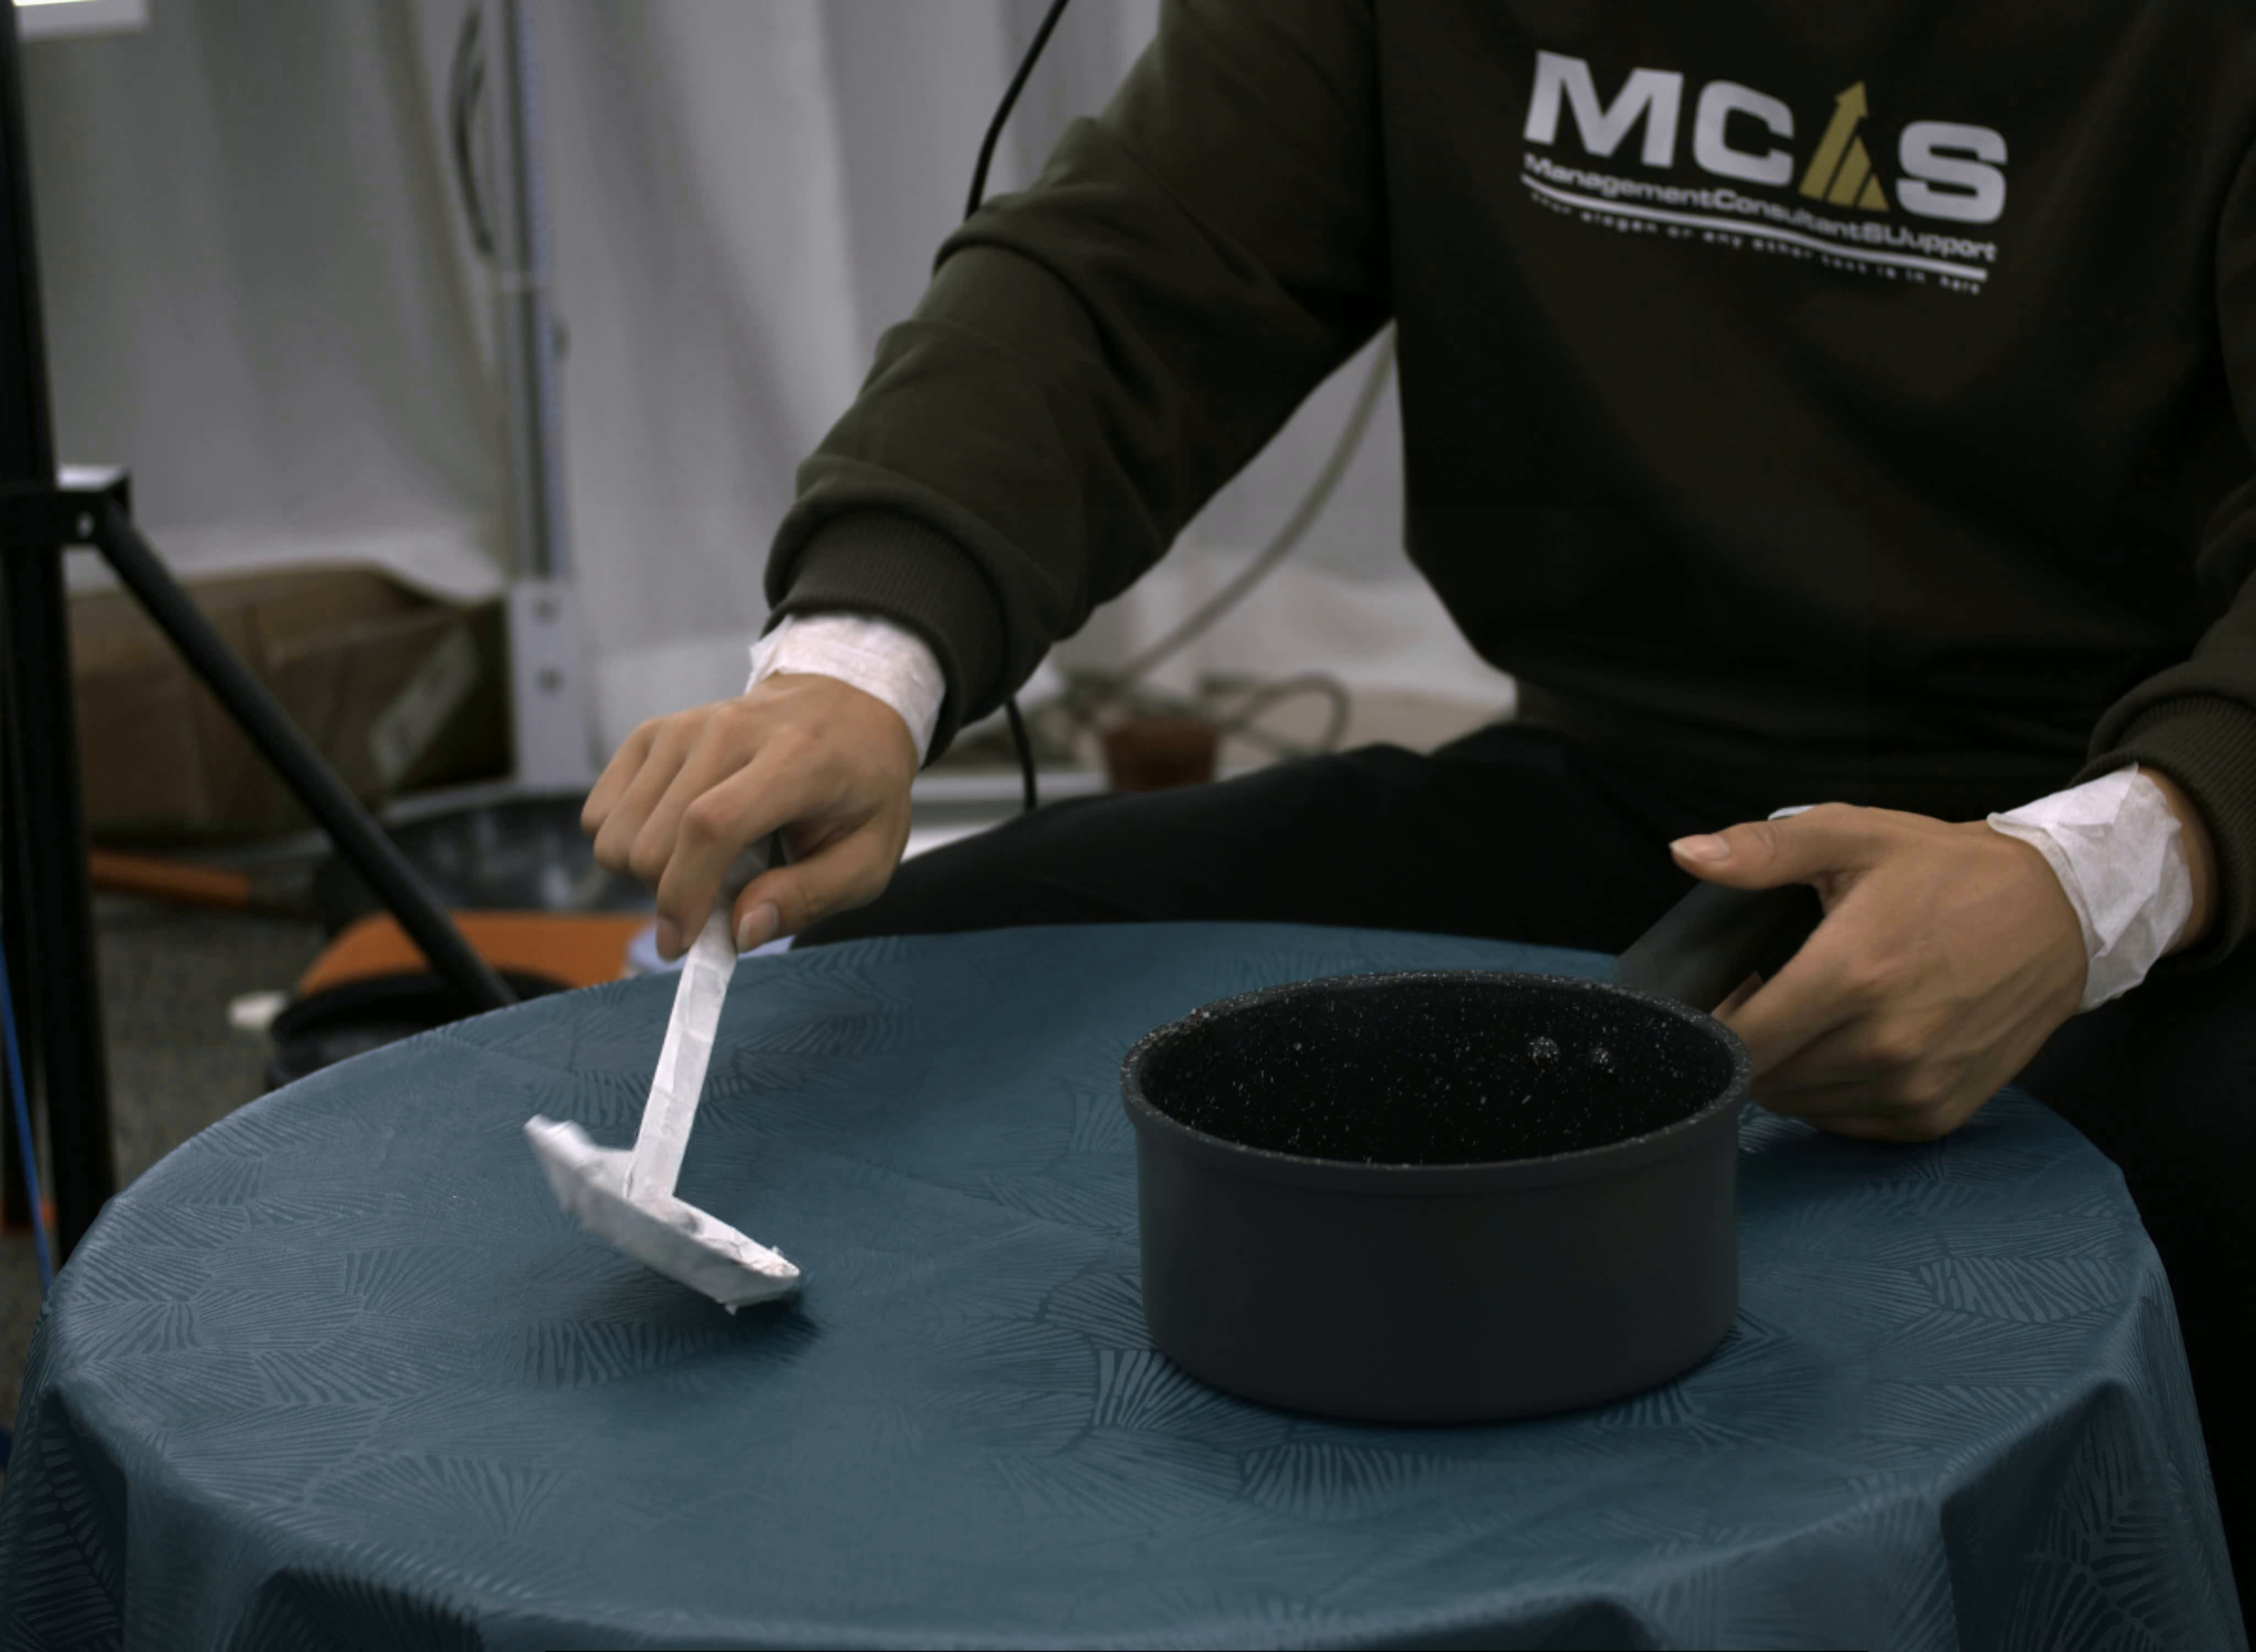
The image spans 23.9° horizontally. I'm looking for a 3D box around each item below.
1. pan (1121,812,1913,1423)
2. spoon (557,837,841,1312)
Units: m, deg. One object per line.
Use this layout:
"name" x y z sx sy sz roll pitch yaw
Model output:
"pan" 0.130 0.078 1.495 0.175 0.086 0.322 10 21 35
"spoon" -0.106 0.059 1.569 0.060 0.100 0.277 -41 14 26
